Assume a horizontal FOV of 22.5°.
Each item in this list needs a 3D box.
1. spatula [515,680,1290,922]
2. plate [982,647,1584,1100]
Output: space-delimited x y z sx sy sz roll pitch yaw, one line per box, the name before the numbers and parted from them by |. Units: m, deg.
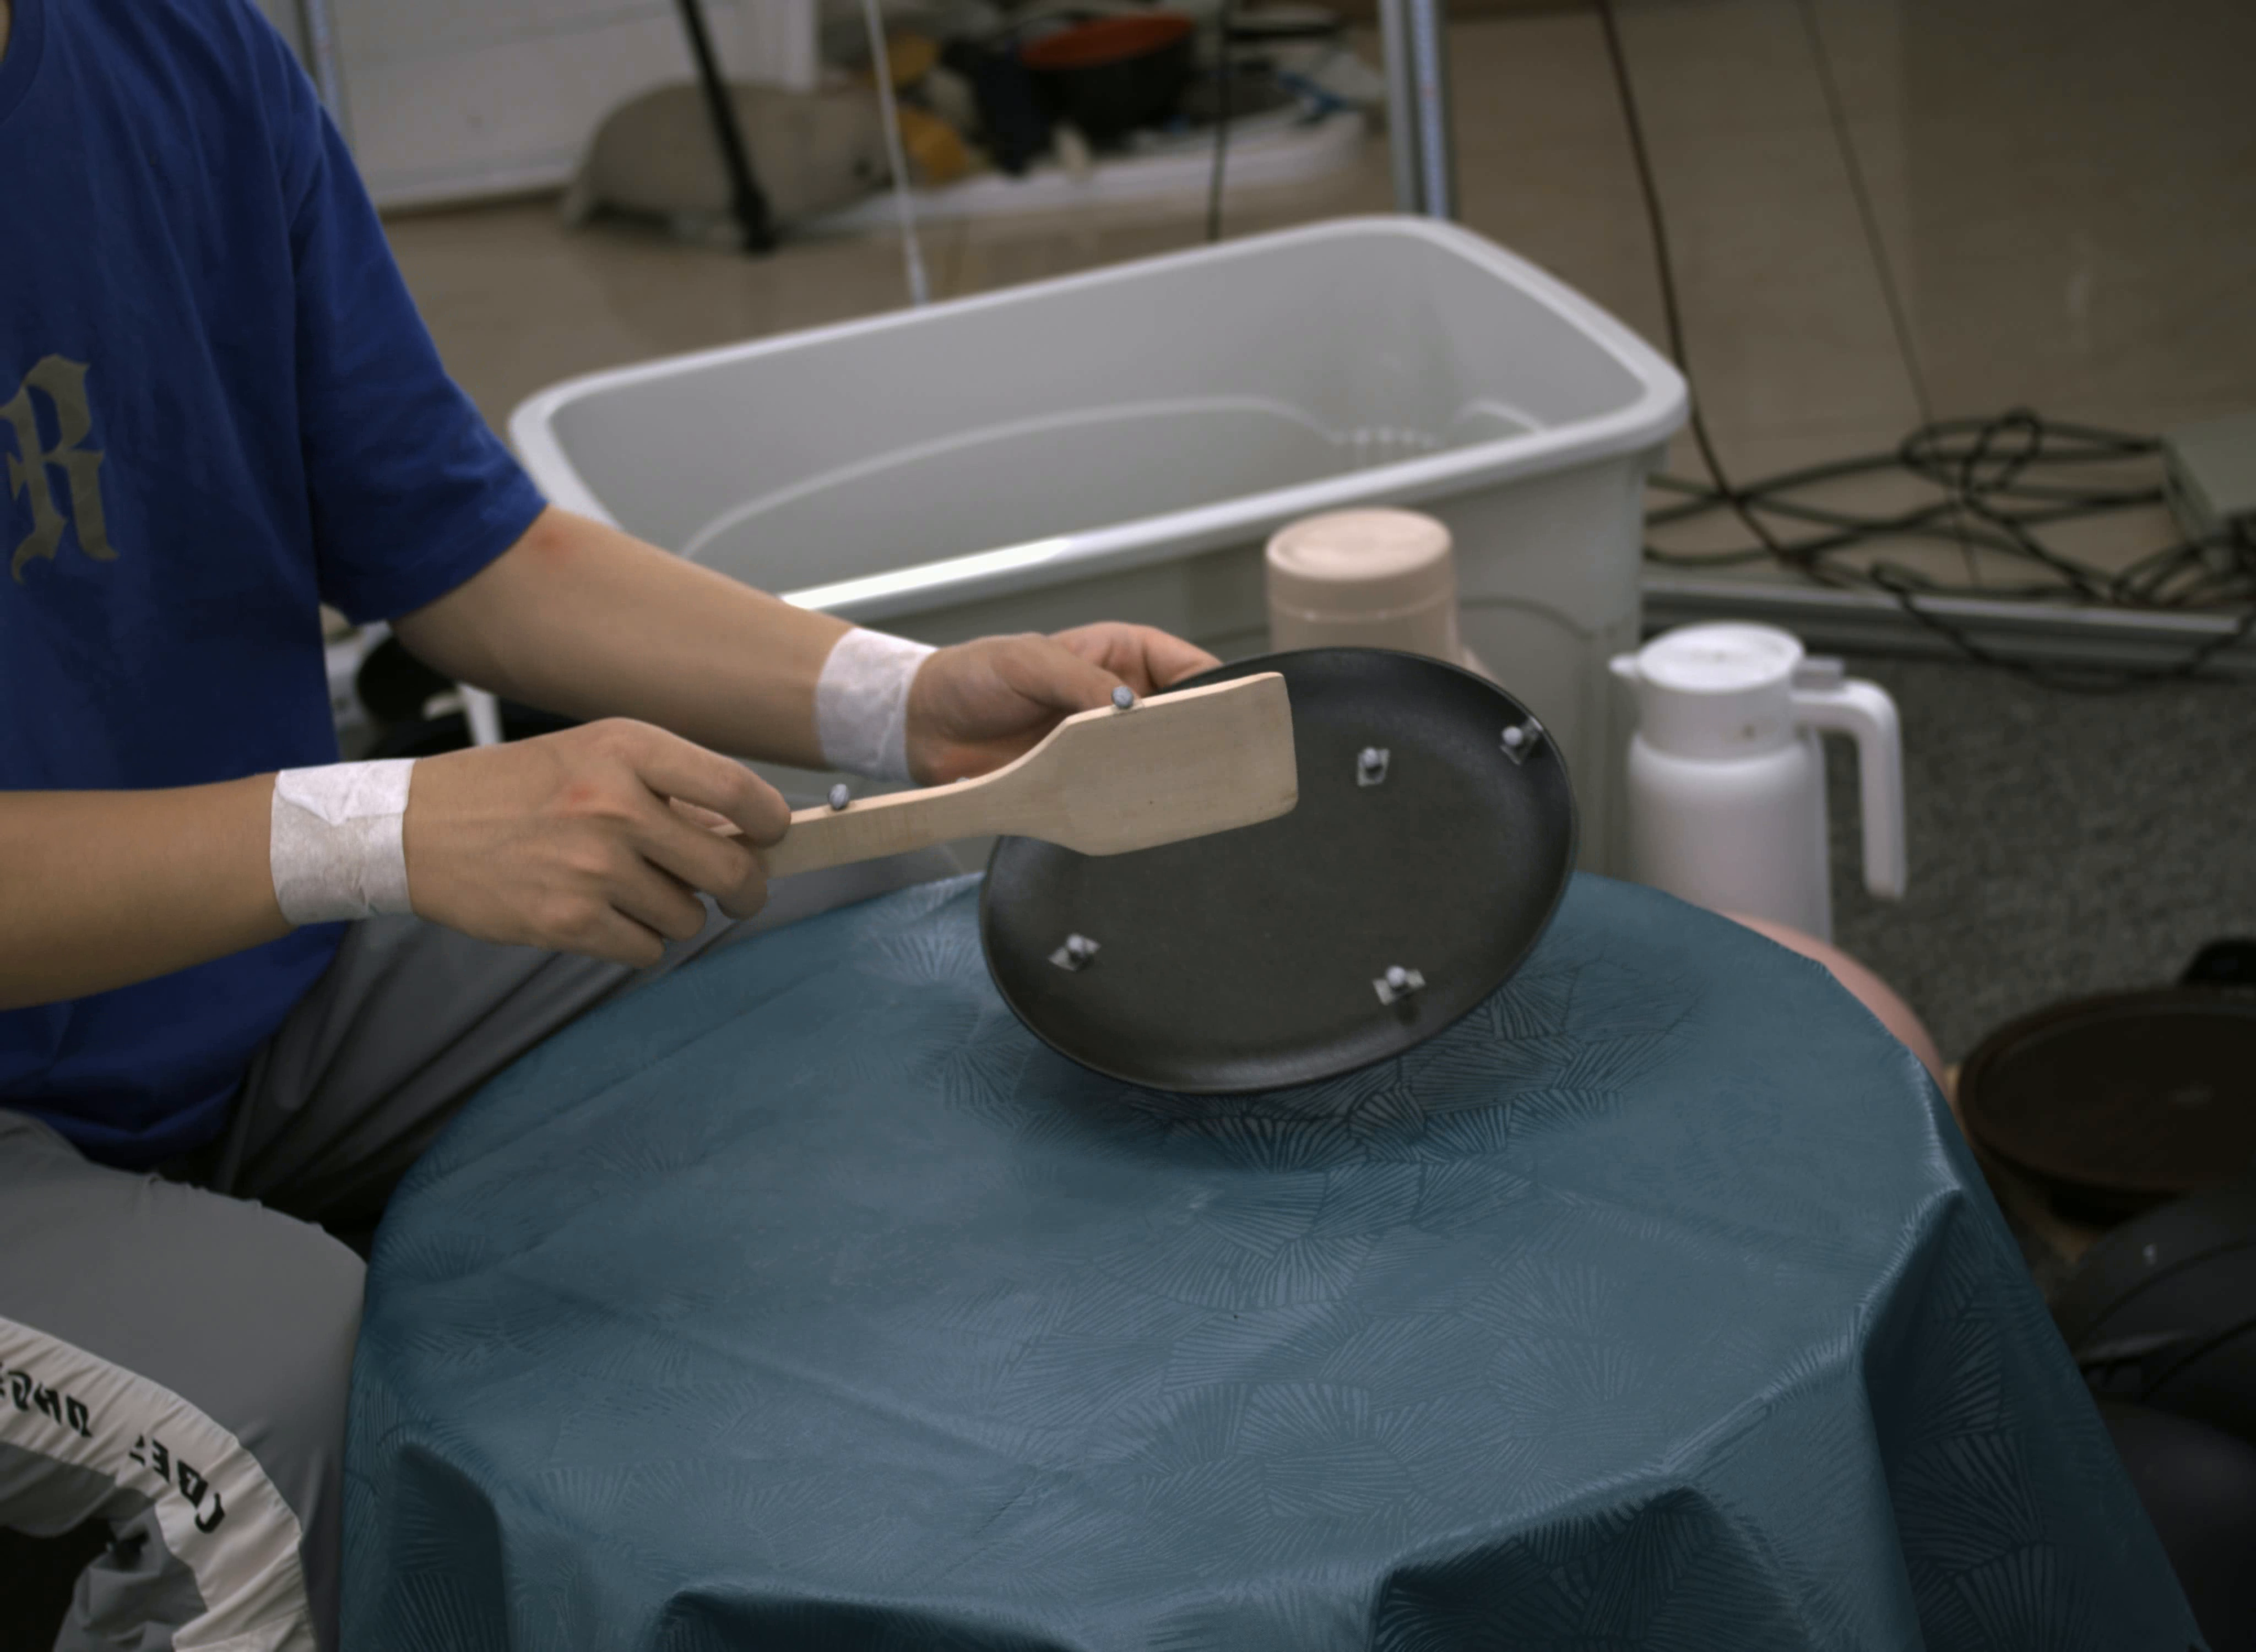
spatula | -0.084 -0.002 2.108 0.292 0.074 0.010 -11 44 -3
plate | 0.062 0.022 2.238 0.244 0.024 0.240 -10 45 10
